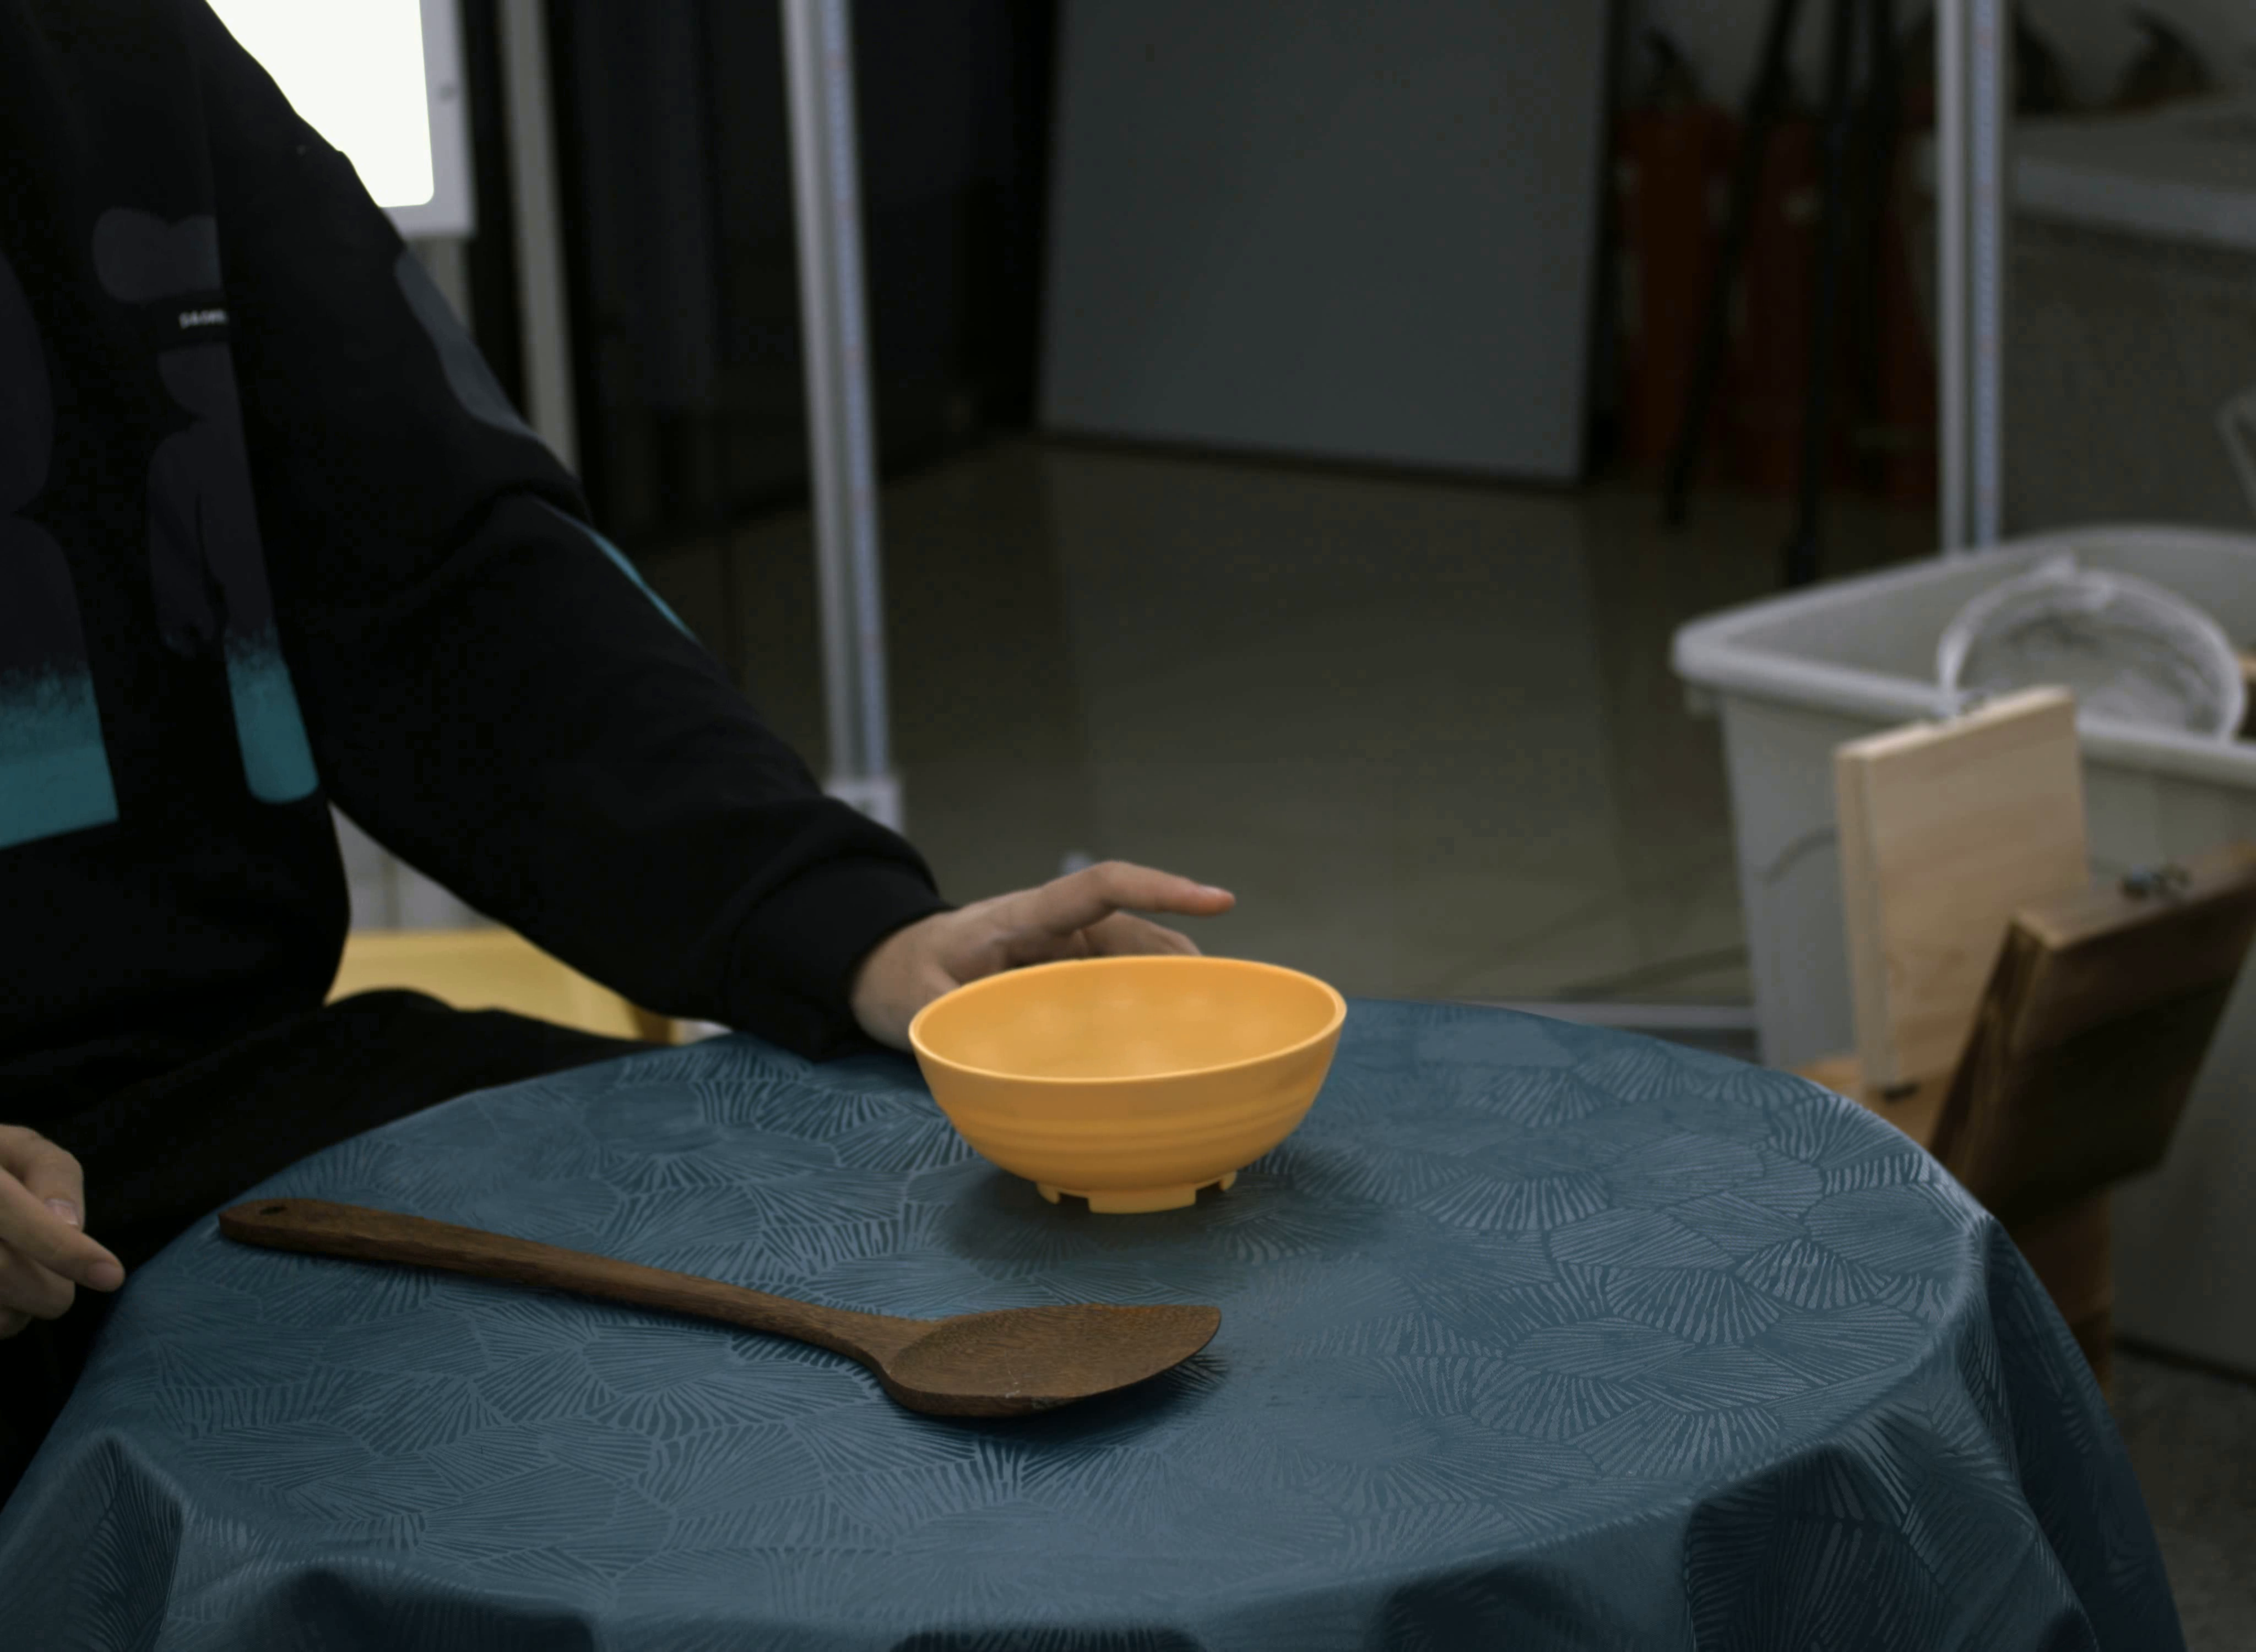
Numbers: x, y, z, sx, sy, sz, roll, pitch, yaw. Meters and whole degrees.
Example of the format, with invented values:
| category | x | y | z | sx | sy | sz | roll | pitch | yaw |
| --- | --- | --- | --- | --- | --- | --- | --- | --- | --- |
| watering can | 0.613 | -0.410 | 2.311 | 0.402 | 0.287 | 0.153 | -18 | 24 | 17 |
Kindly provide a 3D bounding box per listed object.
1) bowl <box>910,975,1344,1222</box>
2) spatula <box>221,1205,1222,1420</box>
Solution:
| category | x | y | z | sx | sy | sz | roll | pitch | yaw |
| --- | --- | --- | --- | --- | --- | --- | --- | --- | --- |
| bowl | 0.001 | 0.093 | 1.771 | 0.143 | 0.061 | 0.145 | -3 | 11 | 0 |
| spatula | -0.142 | 0.147 | 1.682 | 0.388 | 0.016 | 0.094 | 6 | 16 | 36 |
